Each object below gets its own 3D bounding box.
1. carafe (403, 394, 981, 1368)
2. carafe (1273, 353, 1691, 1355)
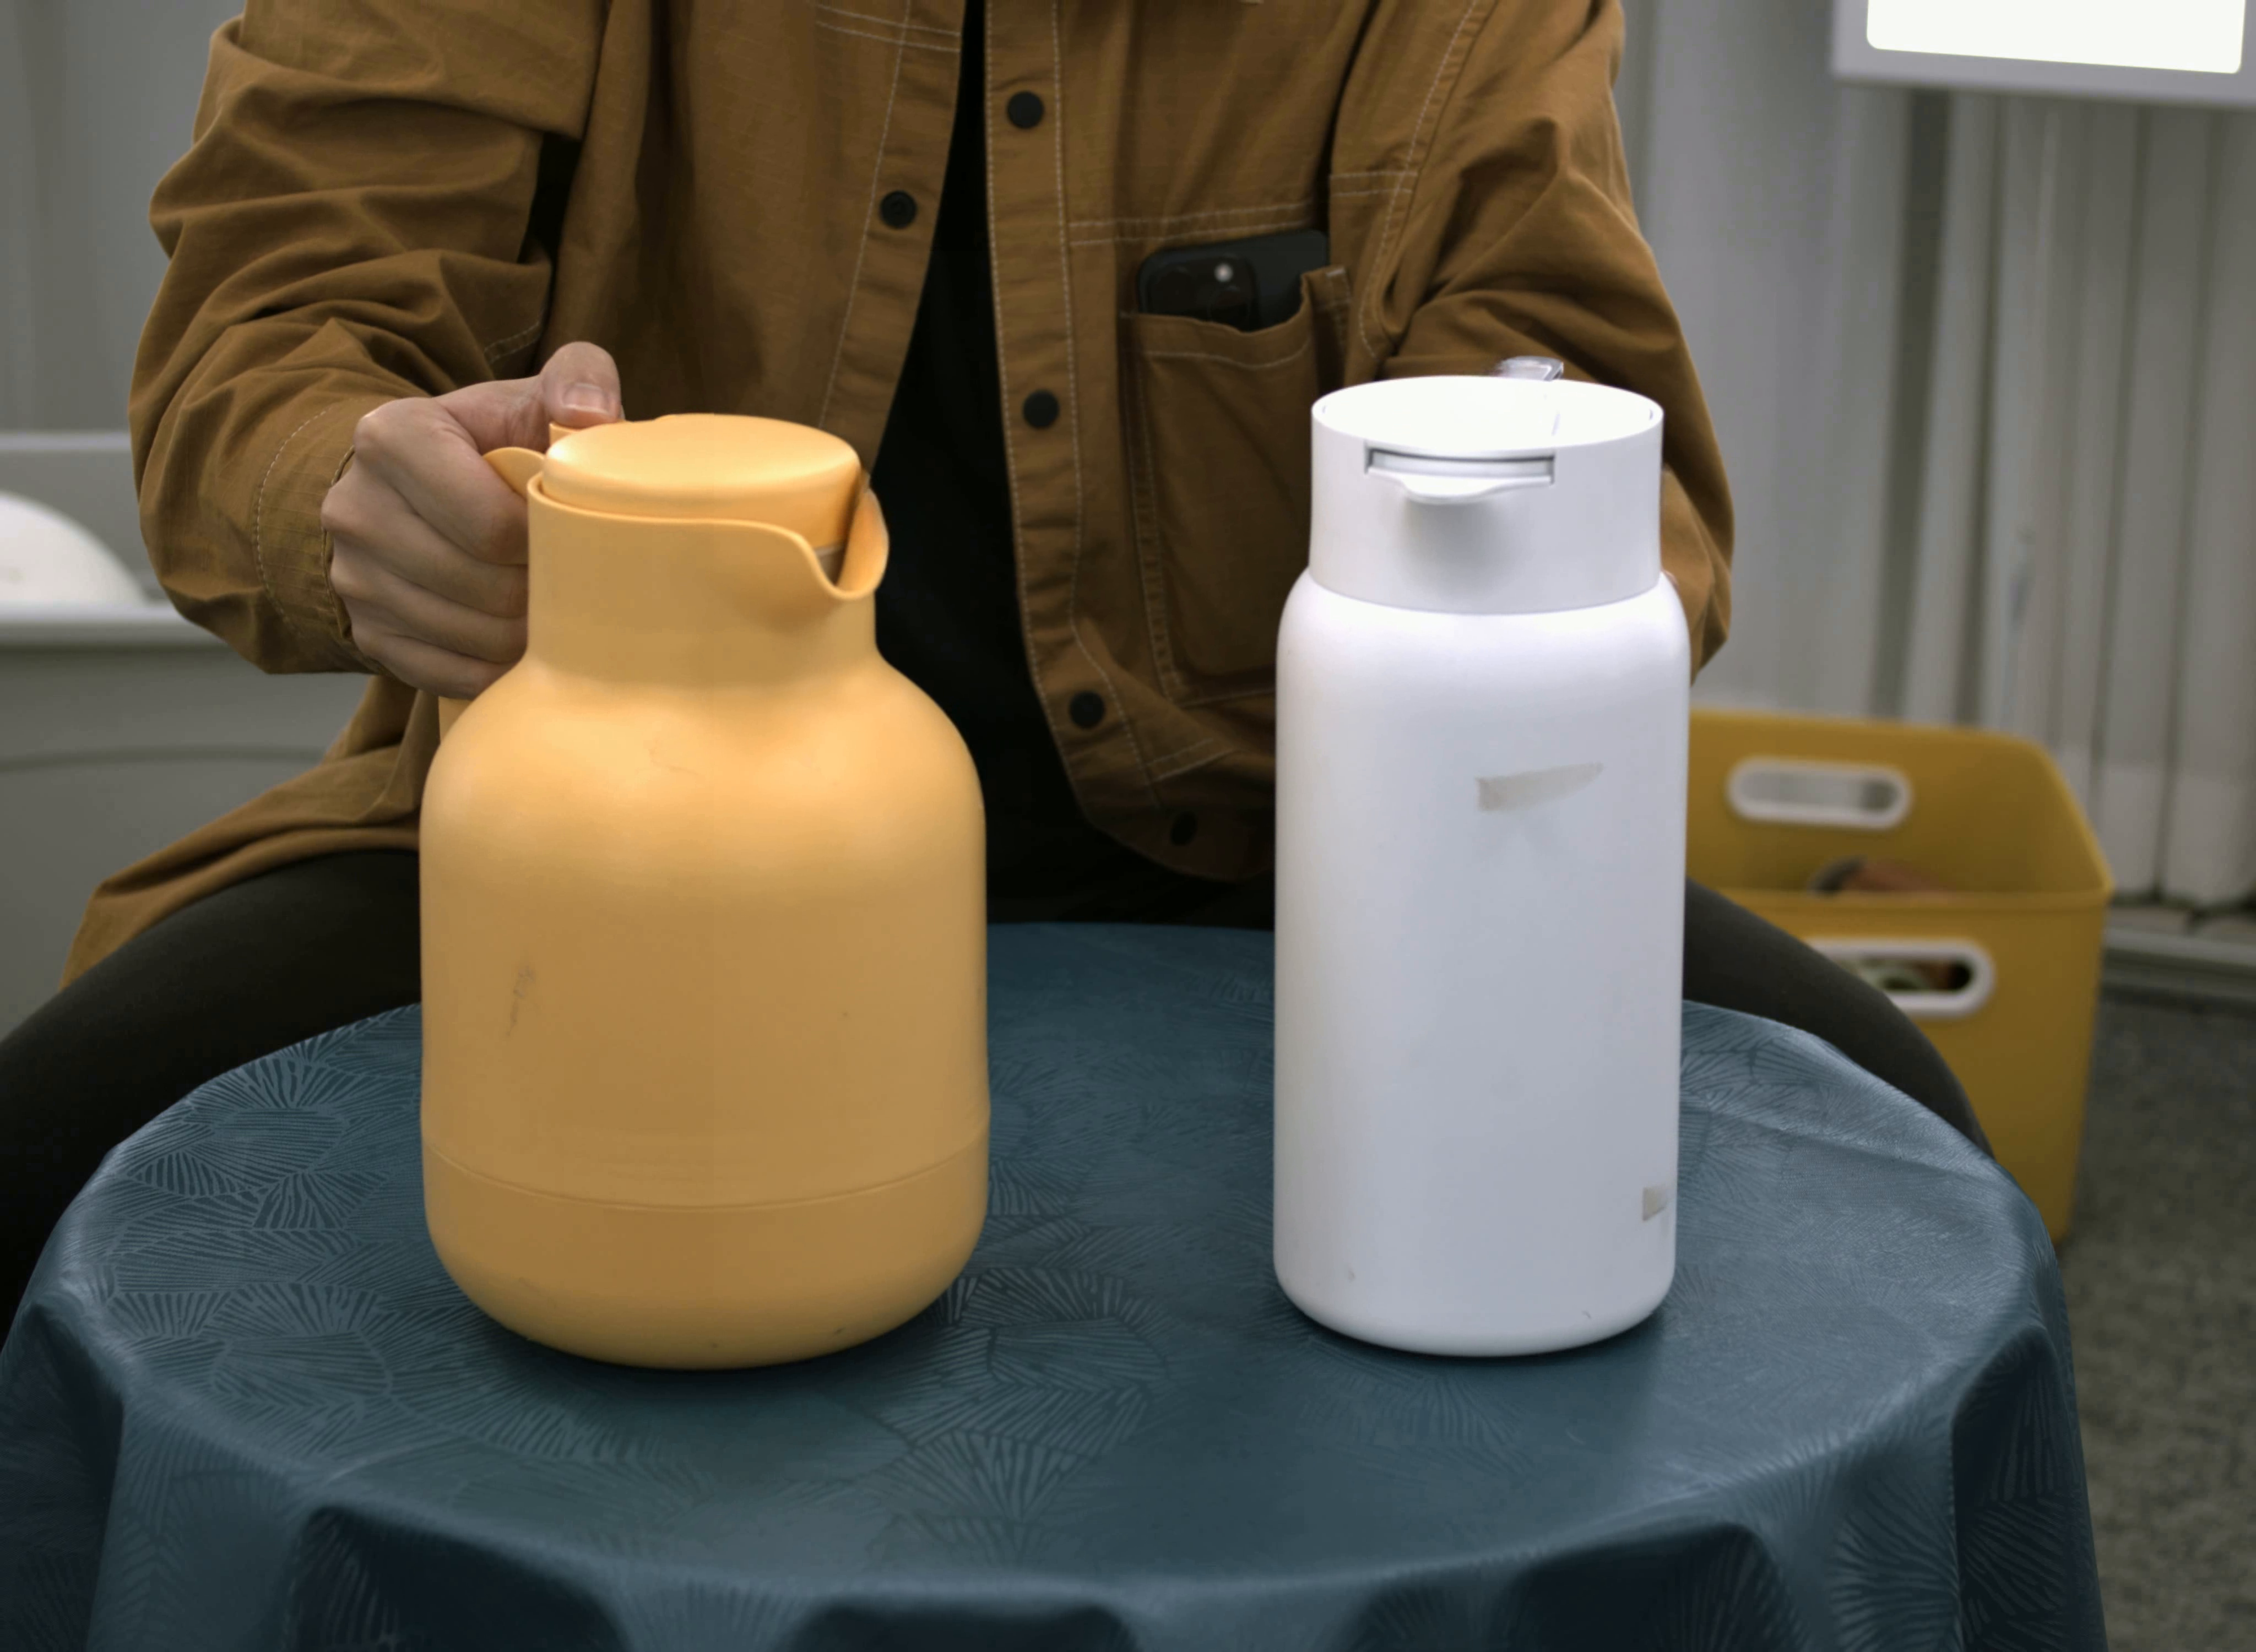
[{"bbox_3d":[-0.132,0.007,1.501,0.164,0.262,0.199,-8,20,-36],"label":"carafe"},{"bbox_3d":[0.103,0.004,1.513,0.123,0.271,0.172,2,17,13],"label":"carafe"}]
